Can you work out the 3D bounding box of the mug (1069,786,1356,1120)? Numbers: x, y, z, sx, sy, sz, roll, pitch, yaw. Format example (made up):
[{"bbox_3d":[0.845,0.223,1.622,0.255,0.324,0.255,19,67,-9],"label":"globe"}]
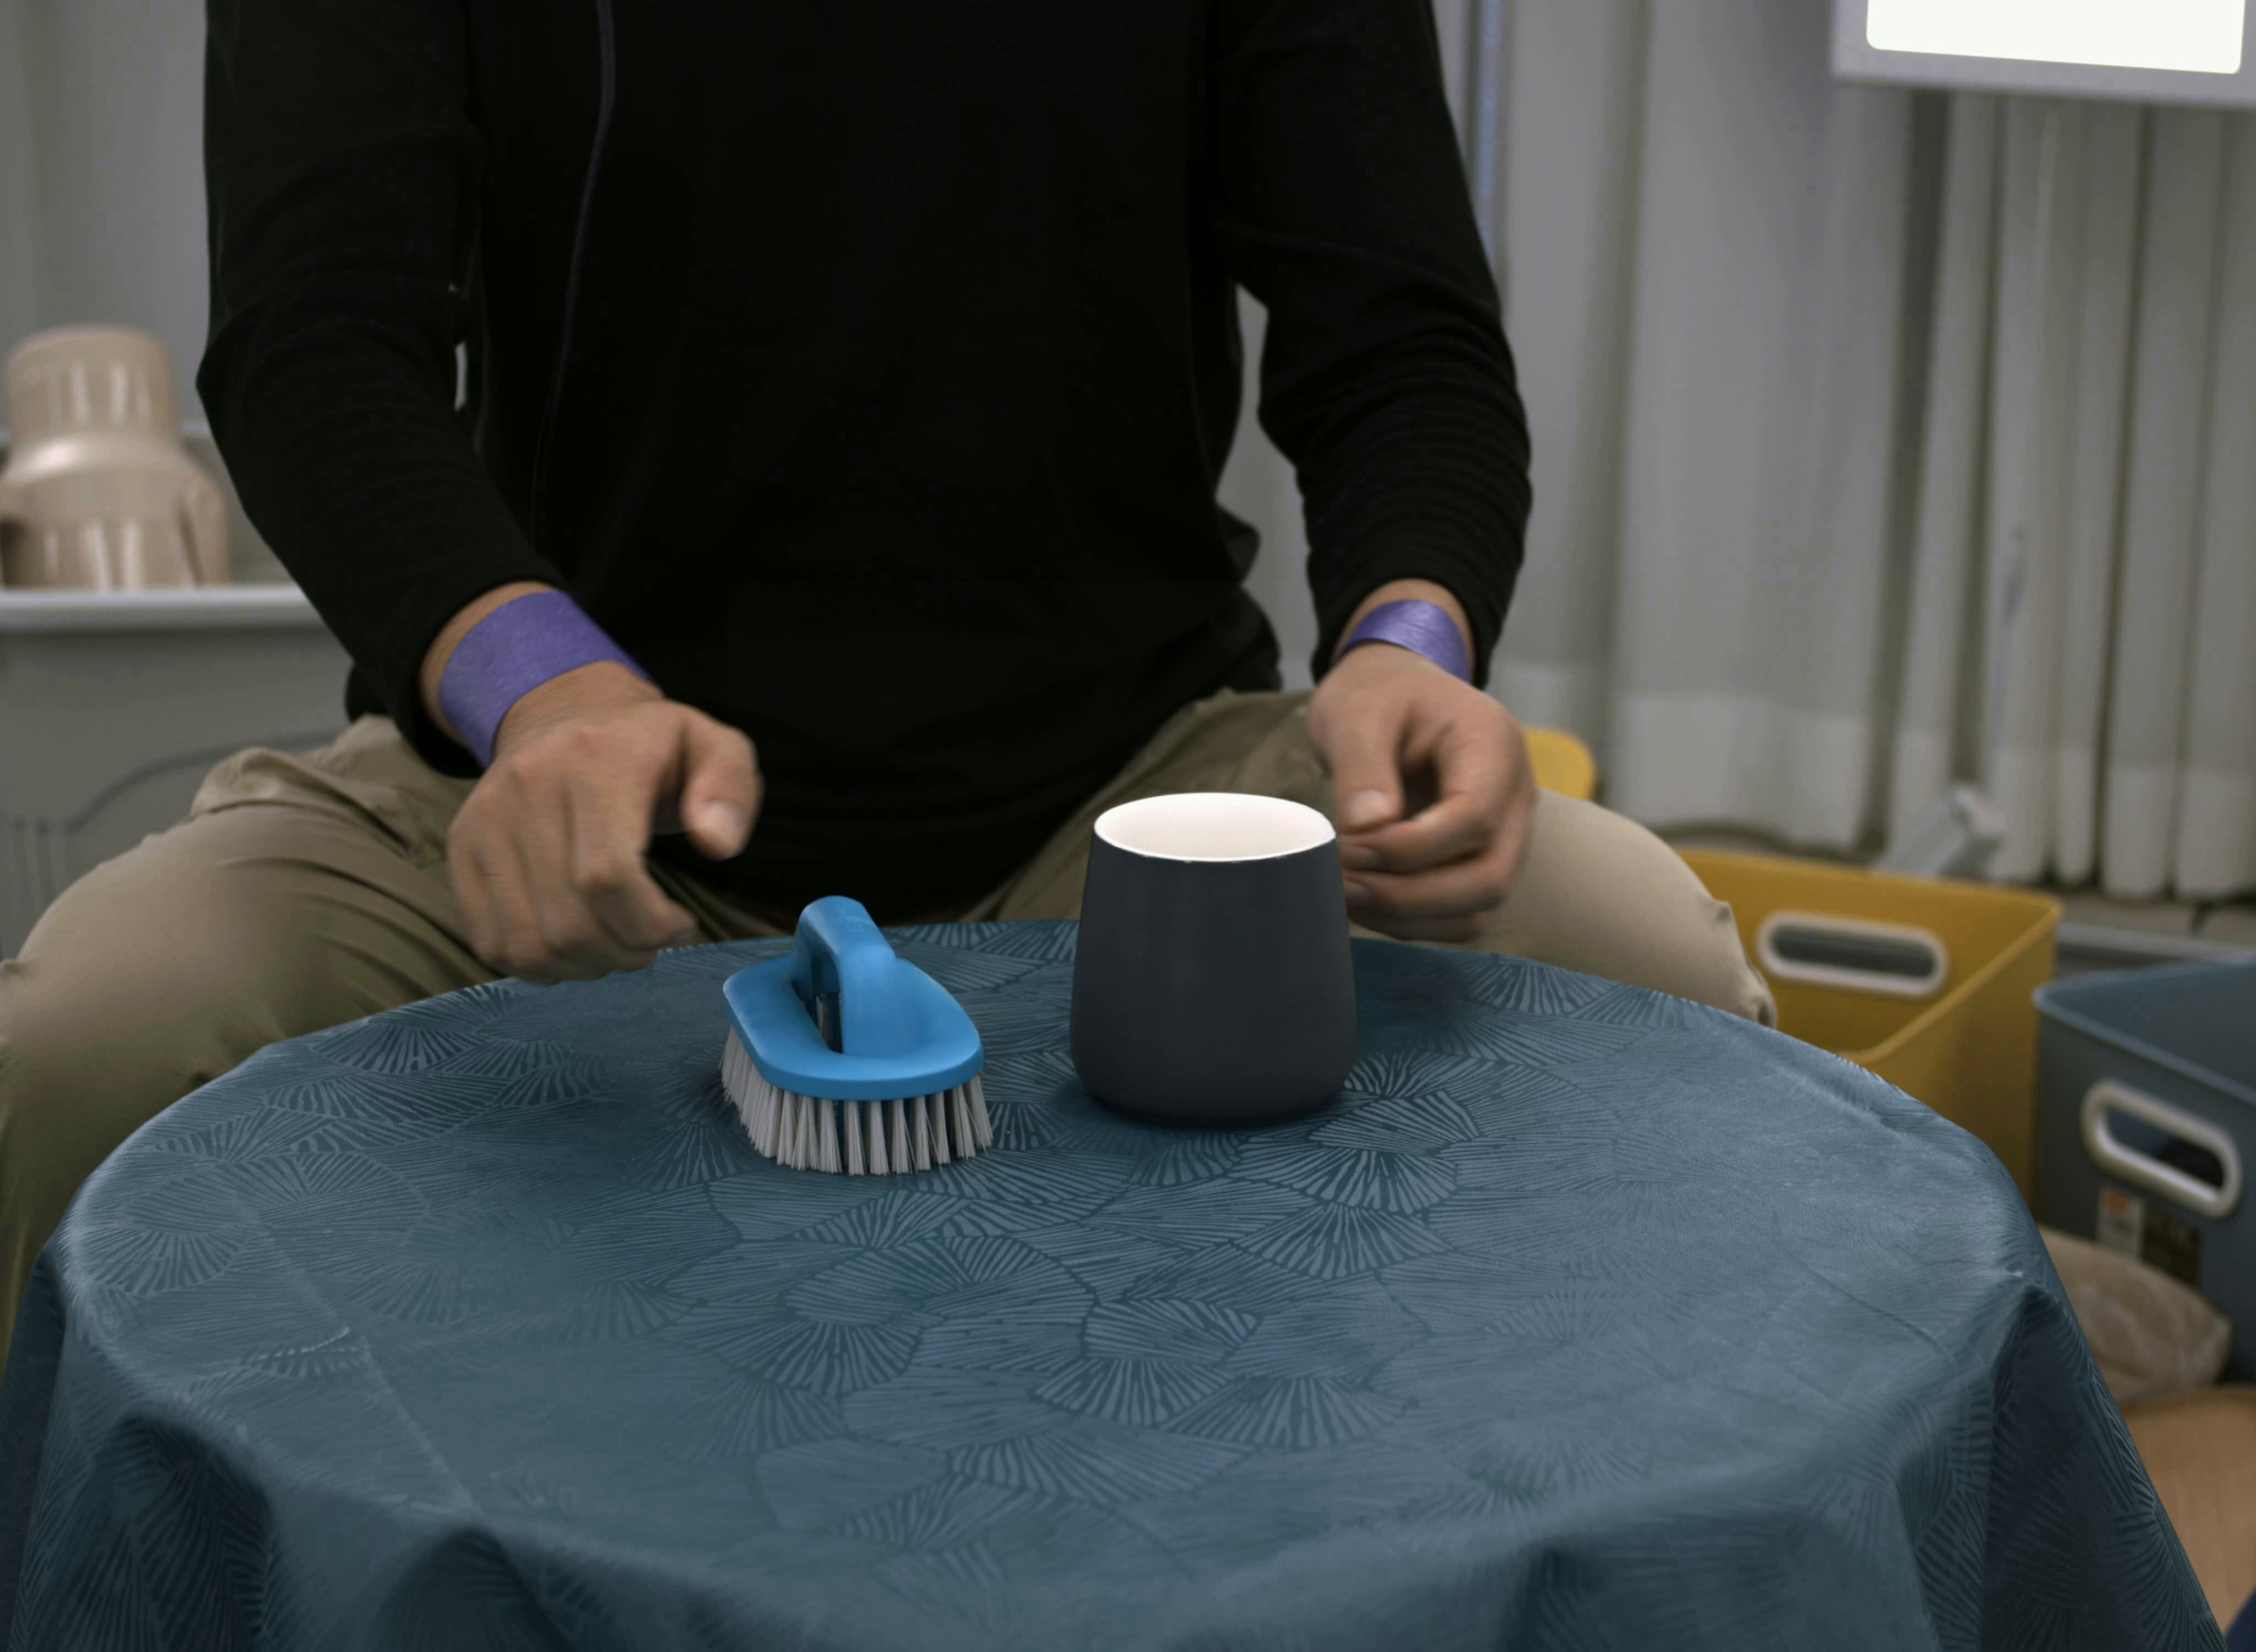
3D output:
[{"bbox_3d":[0.026,0.037,1.717,0.093,0.090,0.122,-1,18,-7],"label":"mug"}]

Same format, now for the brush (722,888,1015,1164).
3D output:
[{"bbox_3d":[-0.086,0.058,1.690,0.084,0.064,0.140,-8,16,-11],"label":"brush"}]
